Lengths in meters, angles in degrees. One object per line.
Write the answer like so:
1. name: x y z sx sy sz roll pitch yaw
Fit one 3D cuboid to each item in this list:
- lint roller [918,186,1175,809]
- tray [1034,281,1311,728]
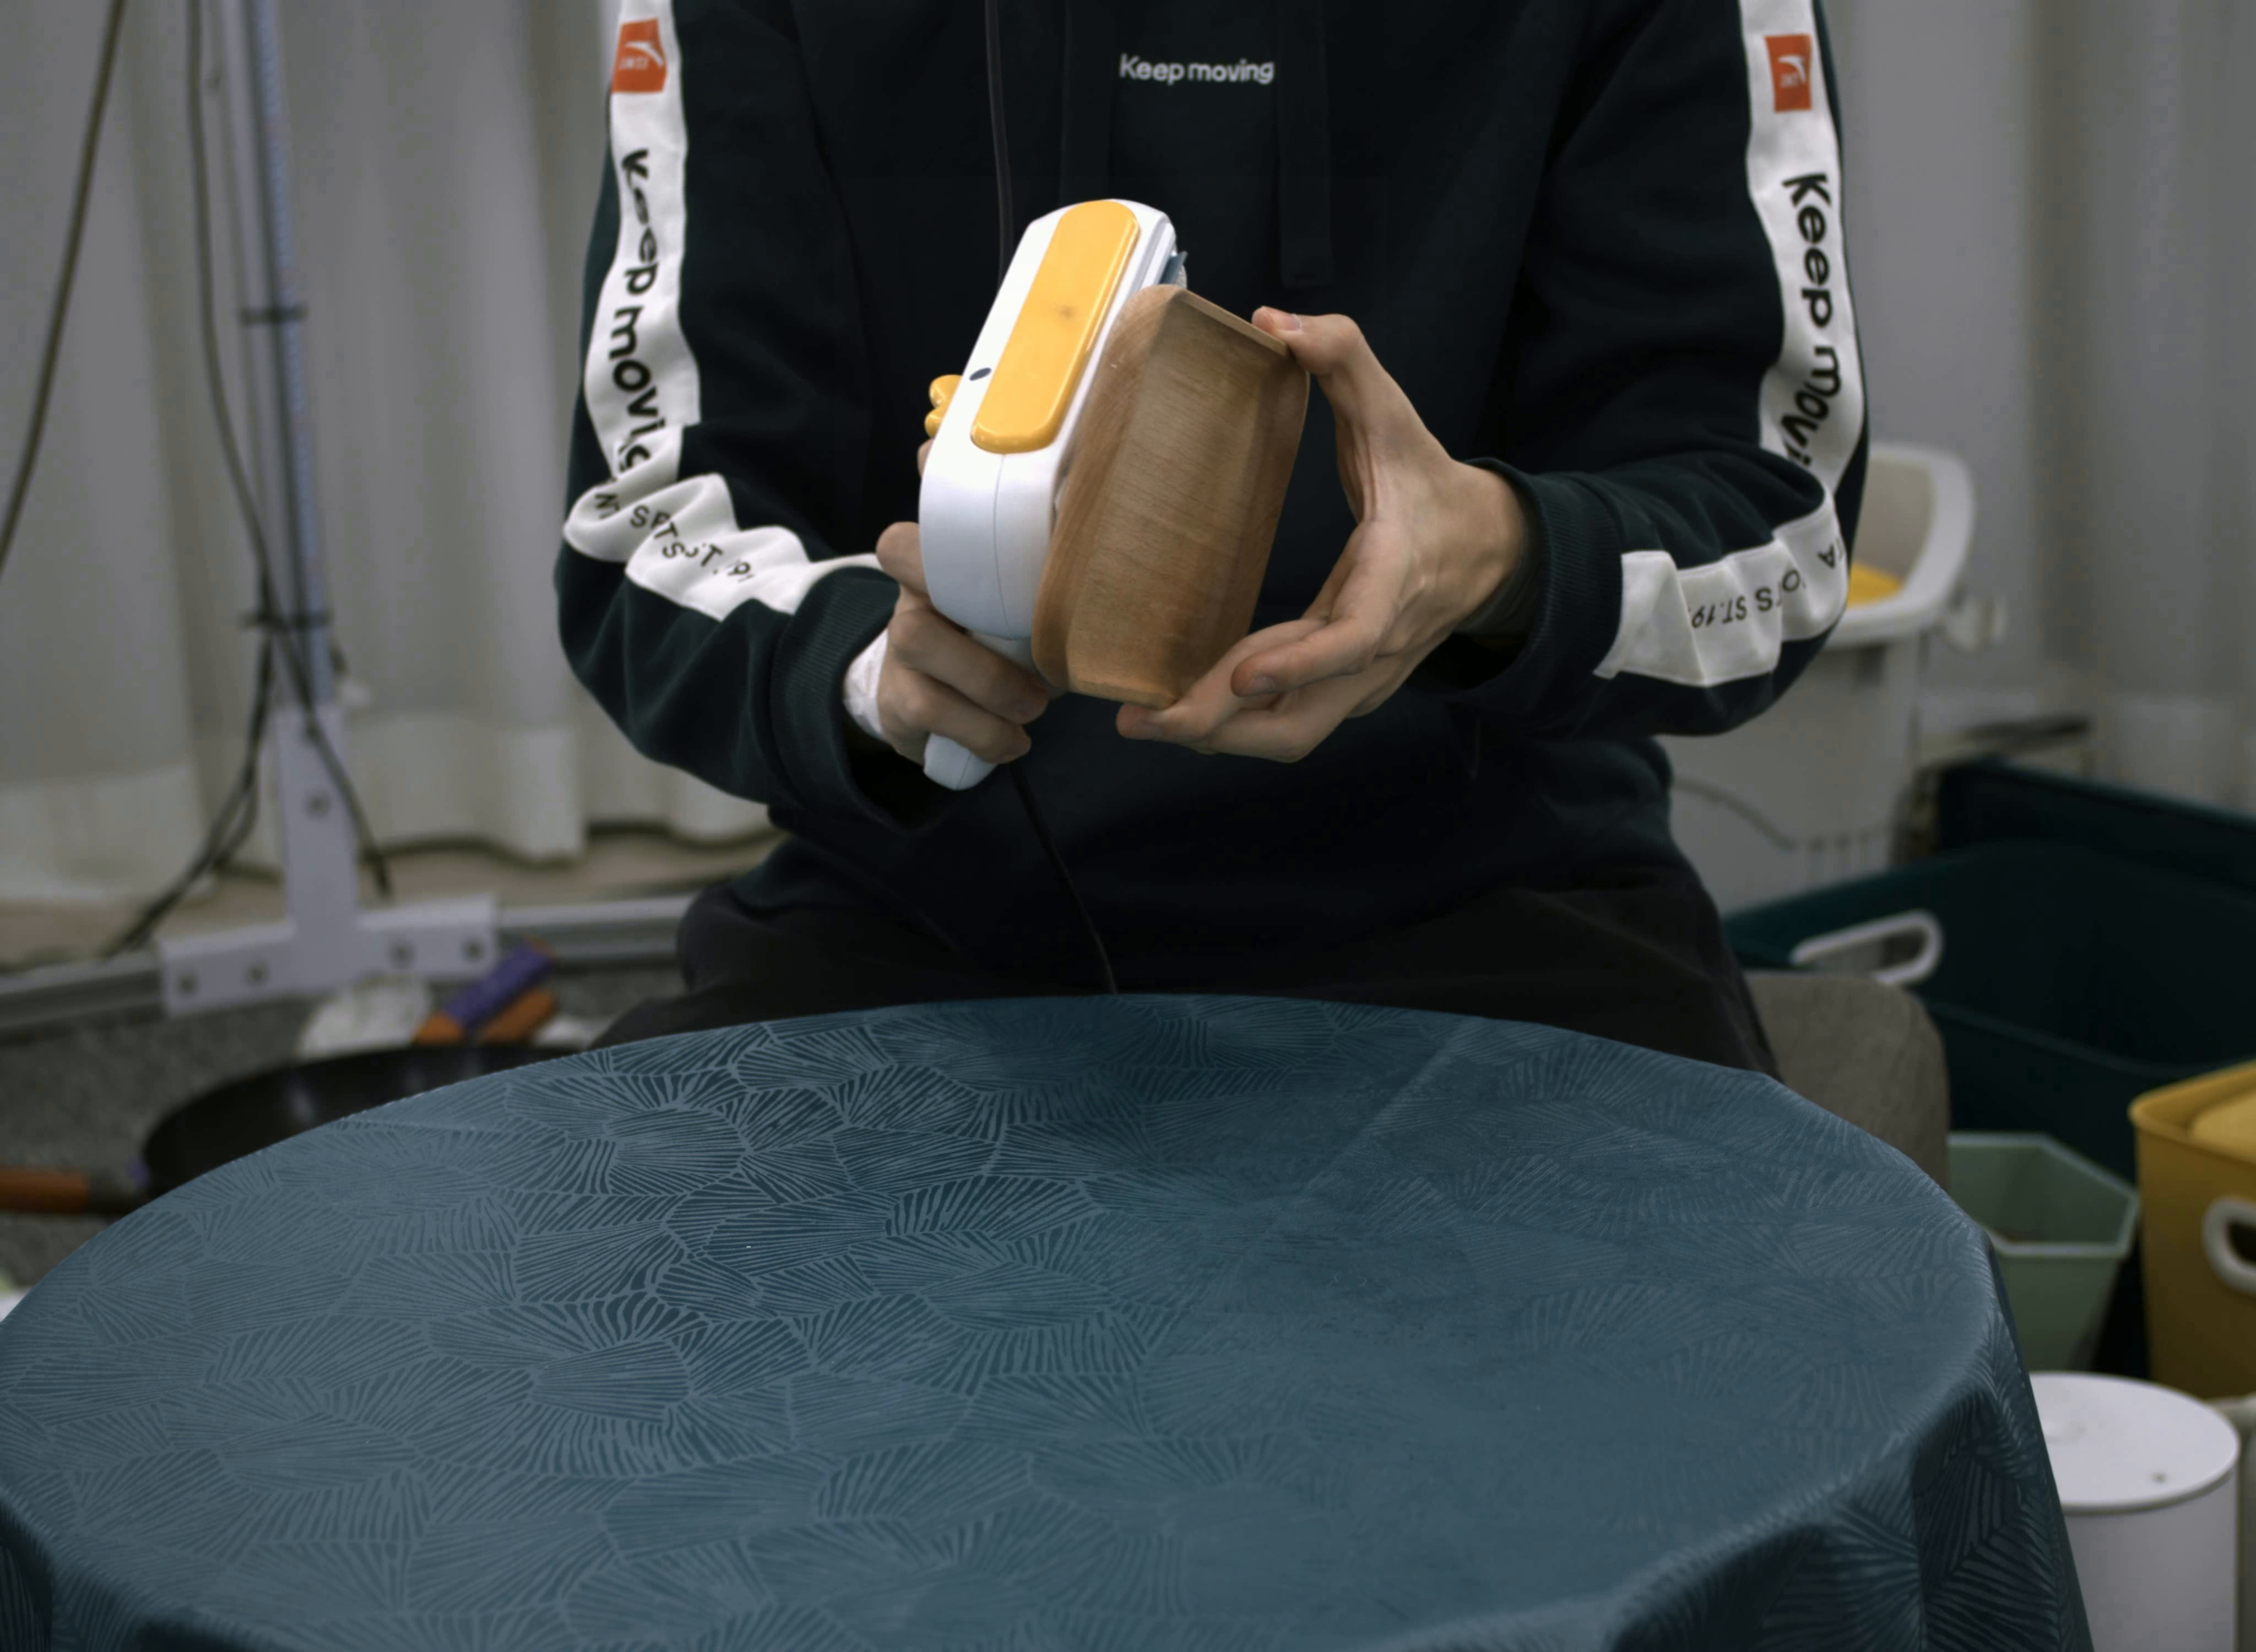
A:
1. lint roller: -0.032 -0.089 1.779 0.074 0.190 0.195 6 33 5
2. tray: 0.016 -0.100 1.741 0.023 0.131 0.250 17 1 12
